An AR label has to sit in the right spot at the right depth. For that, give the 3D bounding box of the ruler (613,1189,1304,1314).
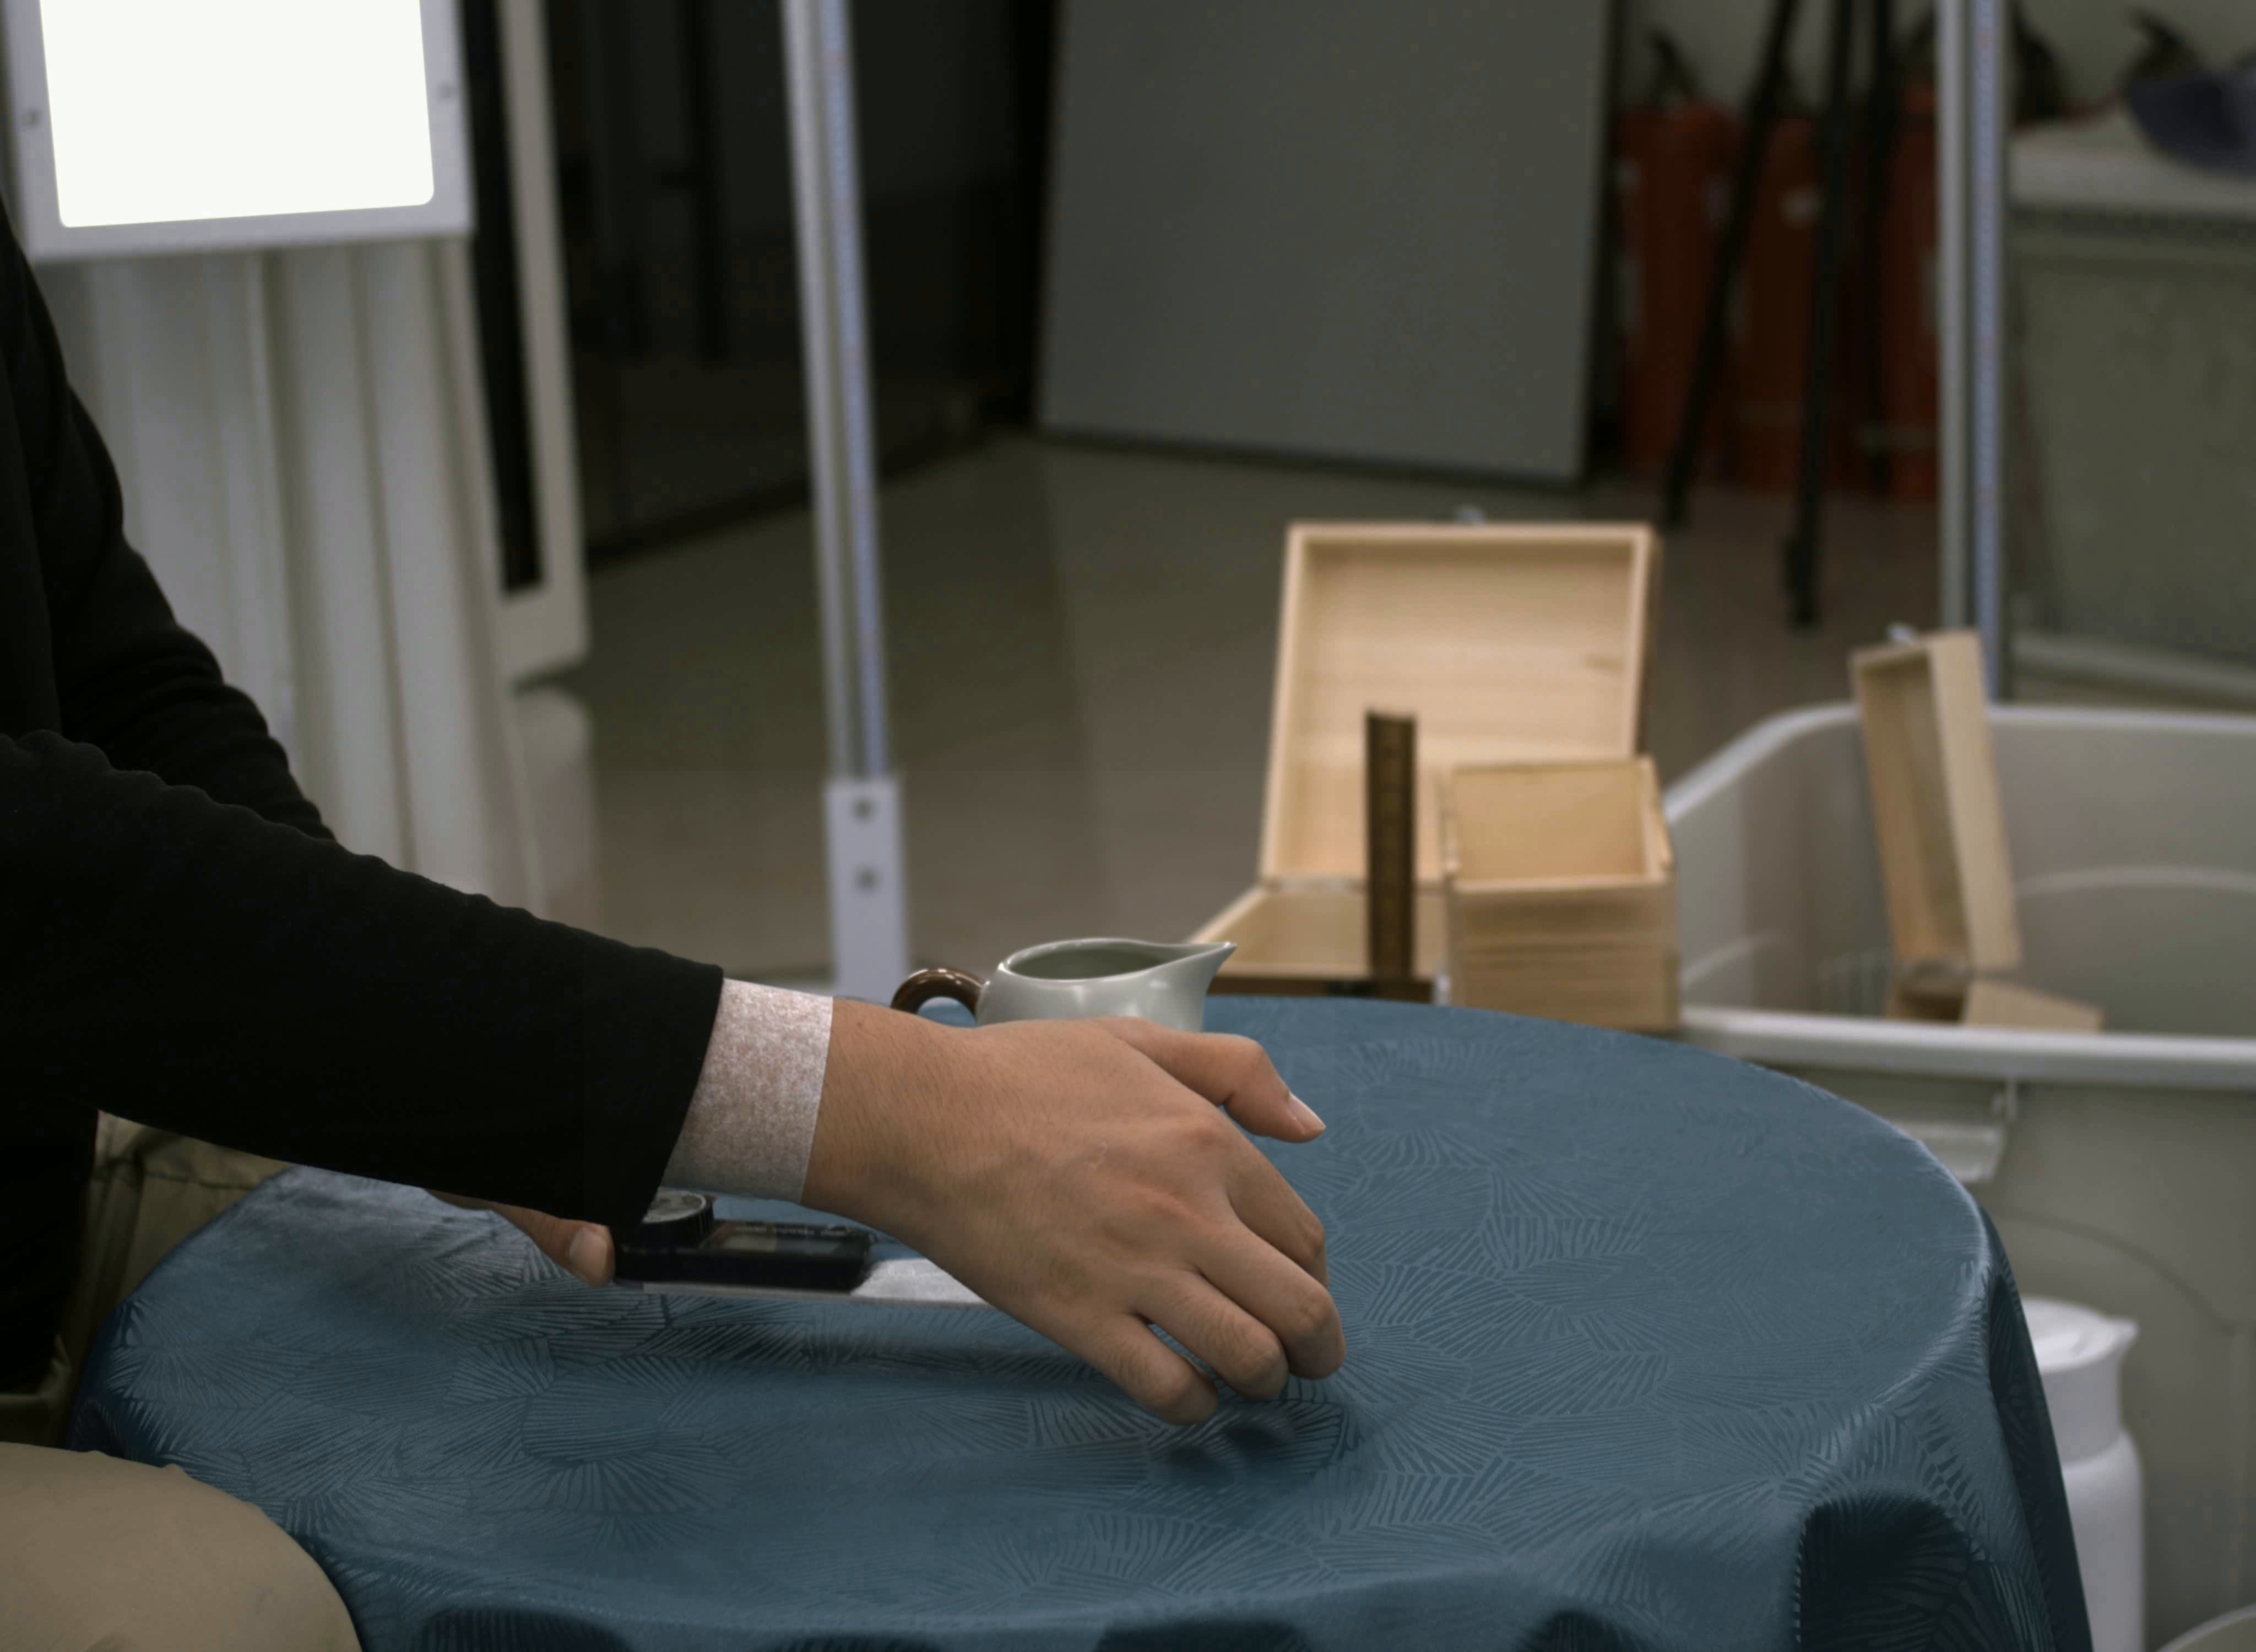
[{"bbox_3d":[-0.055,0.127,1.618,0.218,0.024,0.038,0,21,21],"label":"ruler"}]

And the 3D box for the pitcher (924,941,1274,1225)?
[{"bbox_3d":[-0.009,0.081,1.752,0.119,0.089,0.075,2,11,16],"label":"pitcher"}]
